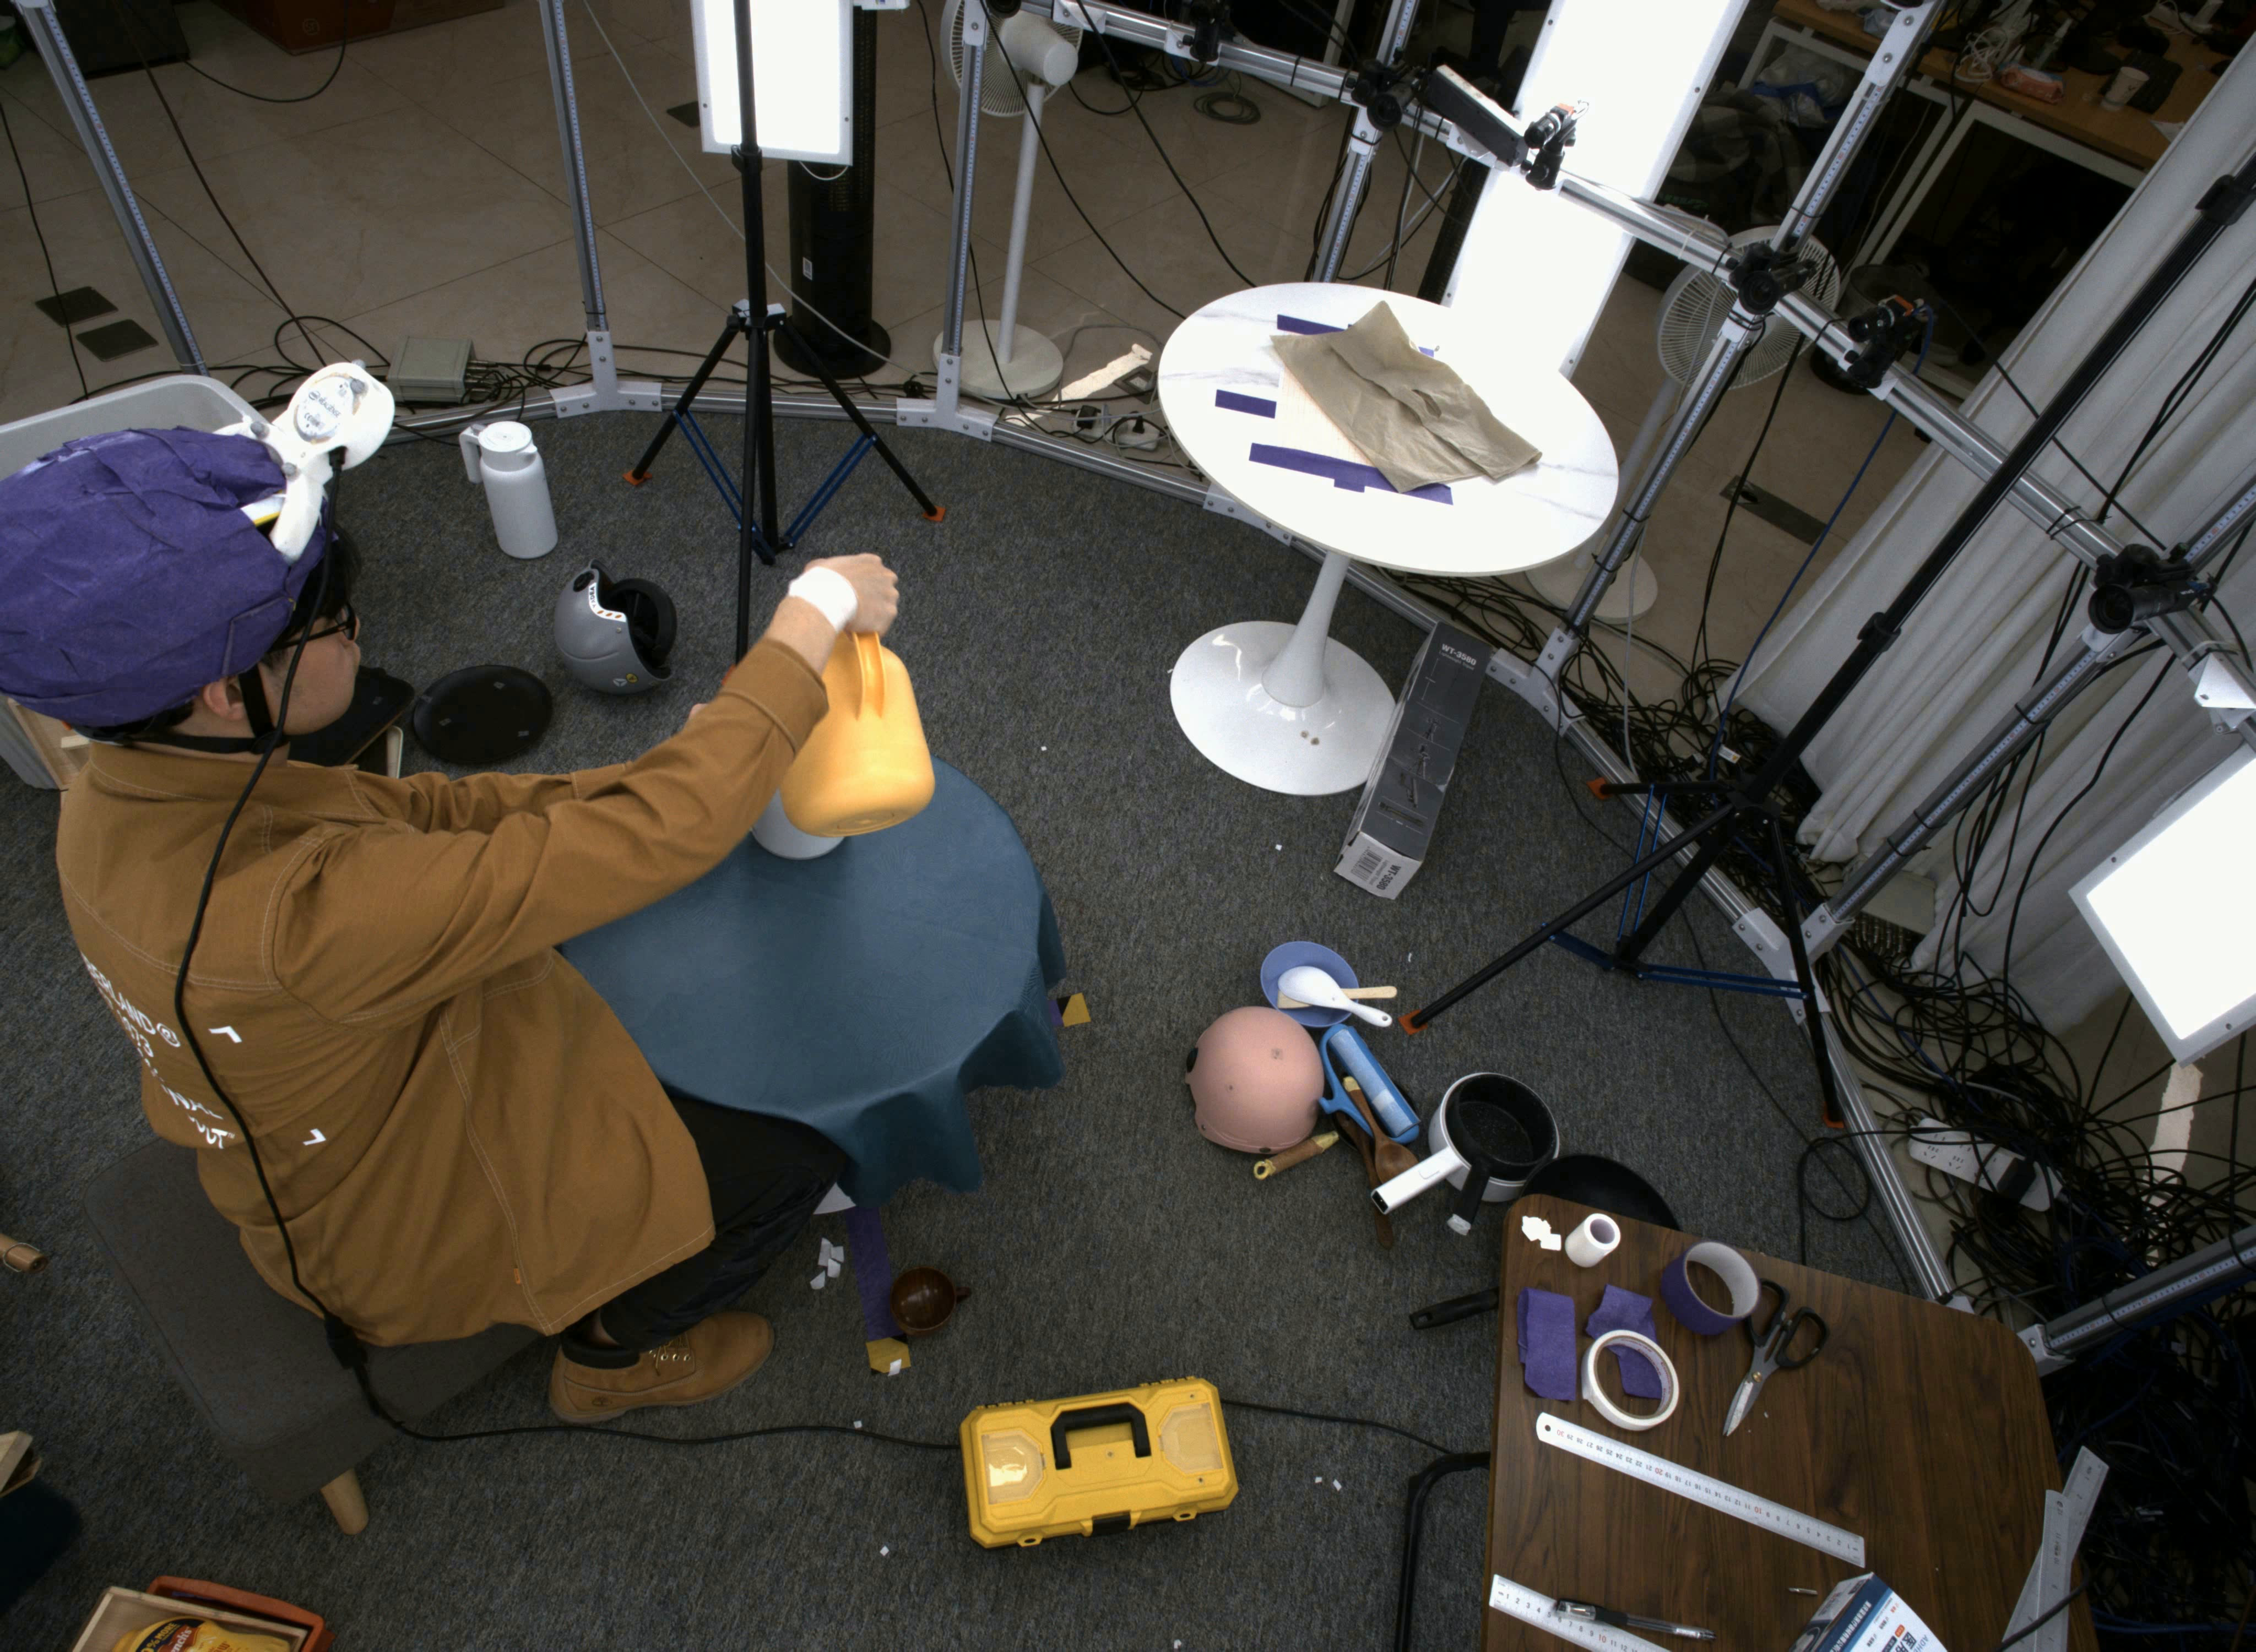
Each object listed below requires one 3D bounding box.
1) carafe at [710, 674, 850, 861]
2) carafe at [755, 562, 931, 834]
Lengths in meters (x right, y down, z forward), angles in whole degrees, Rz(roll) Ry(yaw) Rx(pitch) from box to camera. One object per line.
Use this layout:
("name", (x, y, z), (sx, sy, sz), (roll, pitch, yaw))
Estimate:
("carafe", (-0.435, -0.084, 1.621), (0.168, 0.254, 0.129), (-3, 53, -14))
("carafe", (-0.306, -0.140, 1.359), (0.165, 0.201, 0.260), (-12, 78, -28))
